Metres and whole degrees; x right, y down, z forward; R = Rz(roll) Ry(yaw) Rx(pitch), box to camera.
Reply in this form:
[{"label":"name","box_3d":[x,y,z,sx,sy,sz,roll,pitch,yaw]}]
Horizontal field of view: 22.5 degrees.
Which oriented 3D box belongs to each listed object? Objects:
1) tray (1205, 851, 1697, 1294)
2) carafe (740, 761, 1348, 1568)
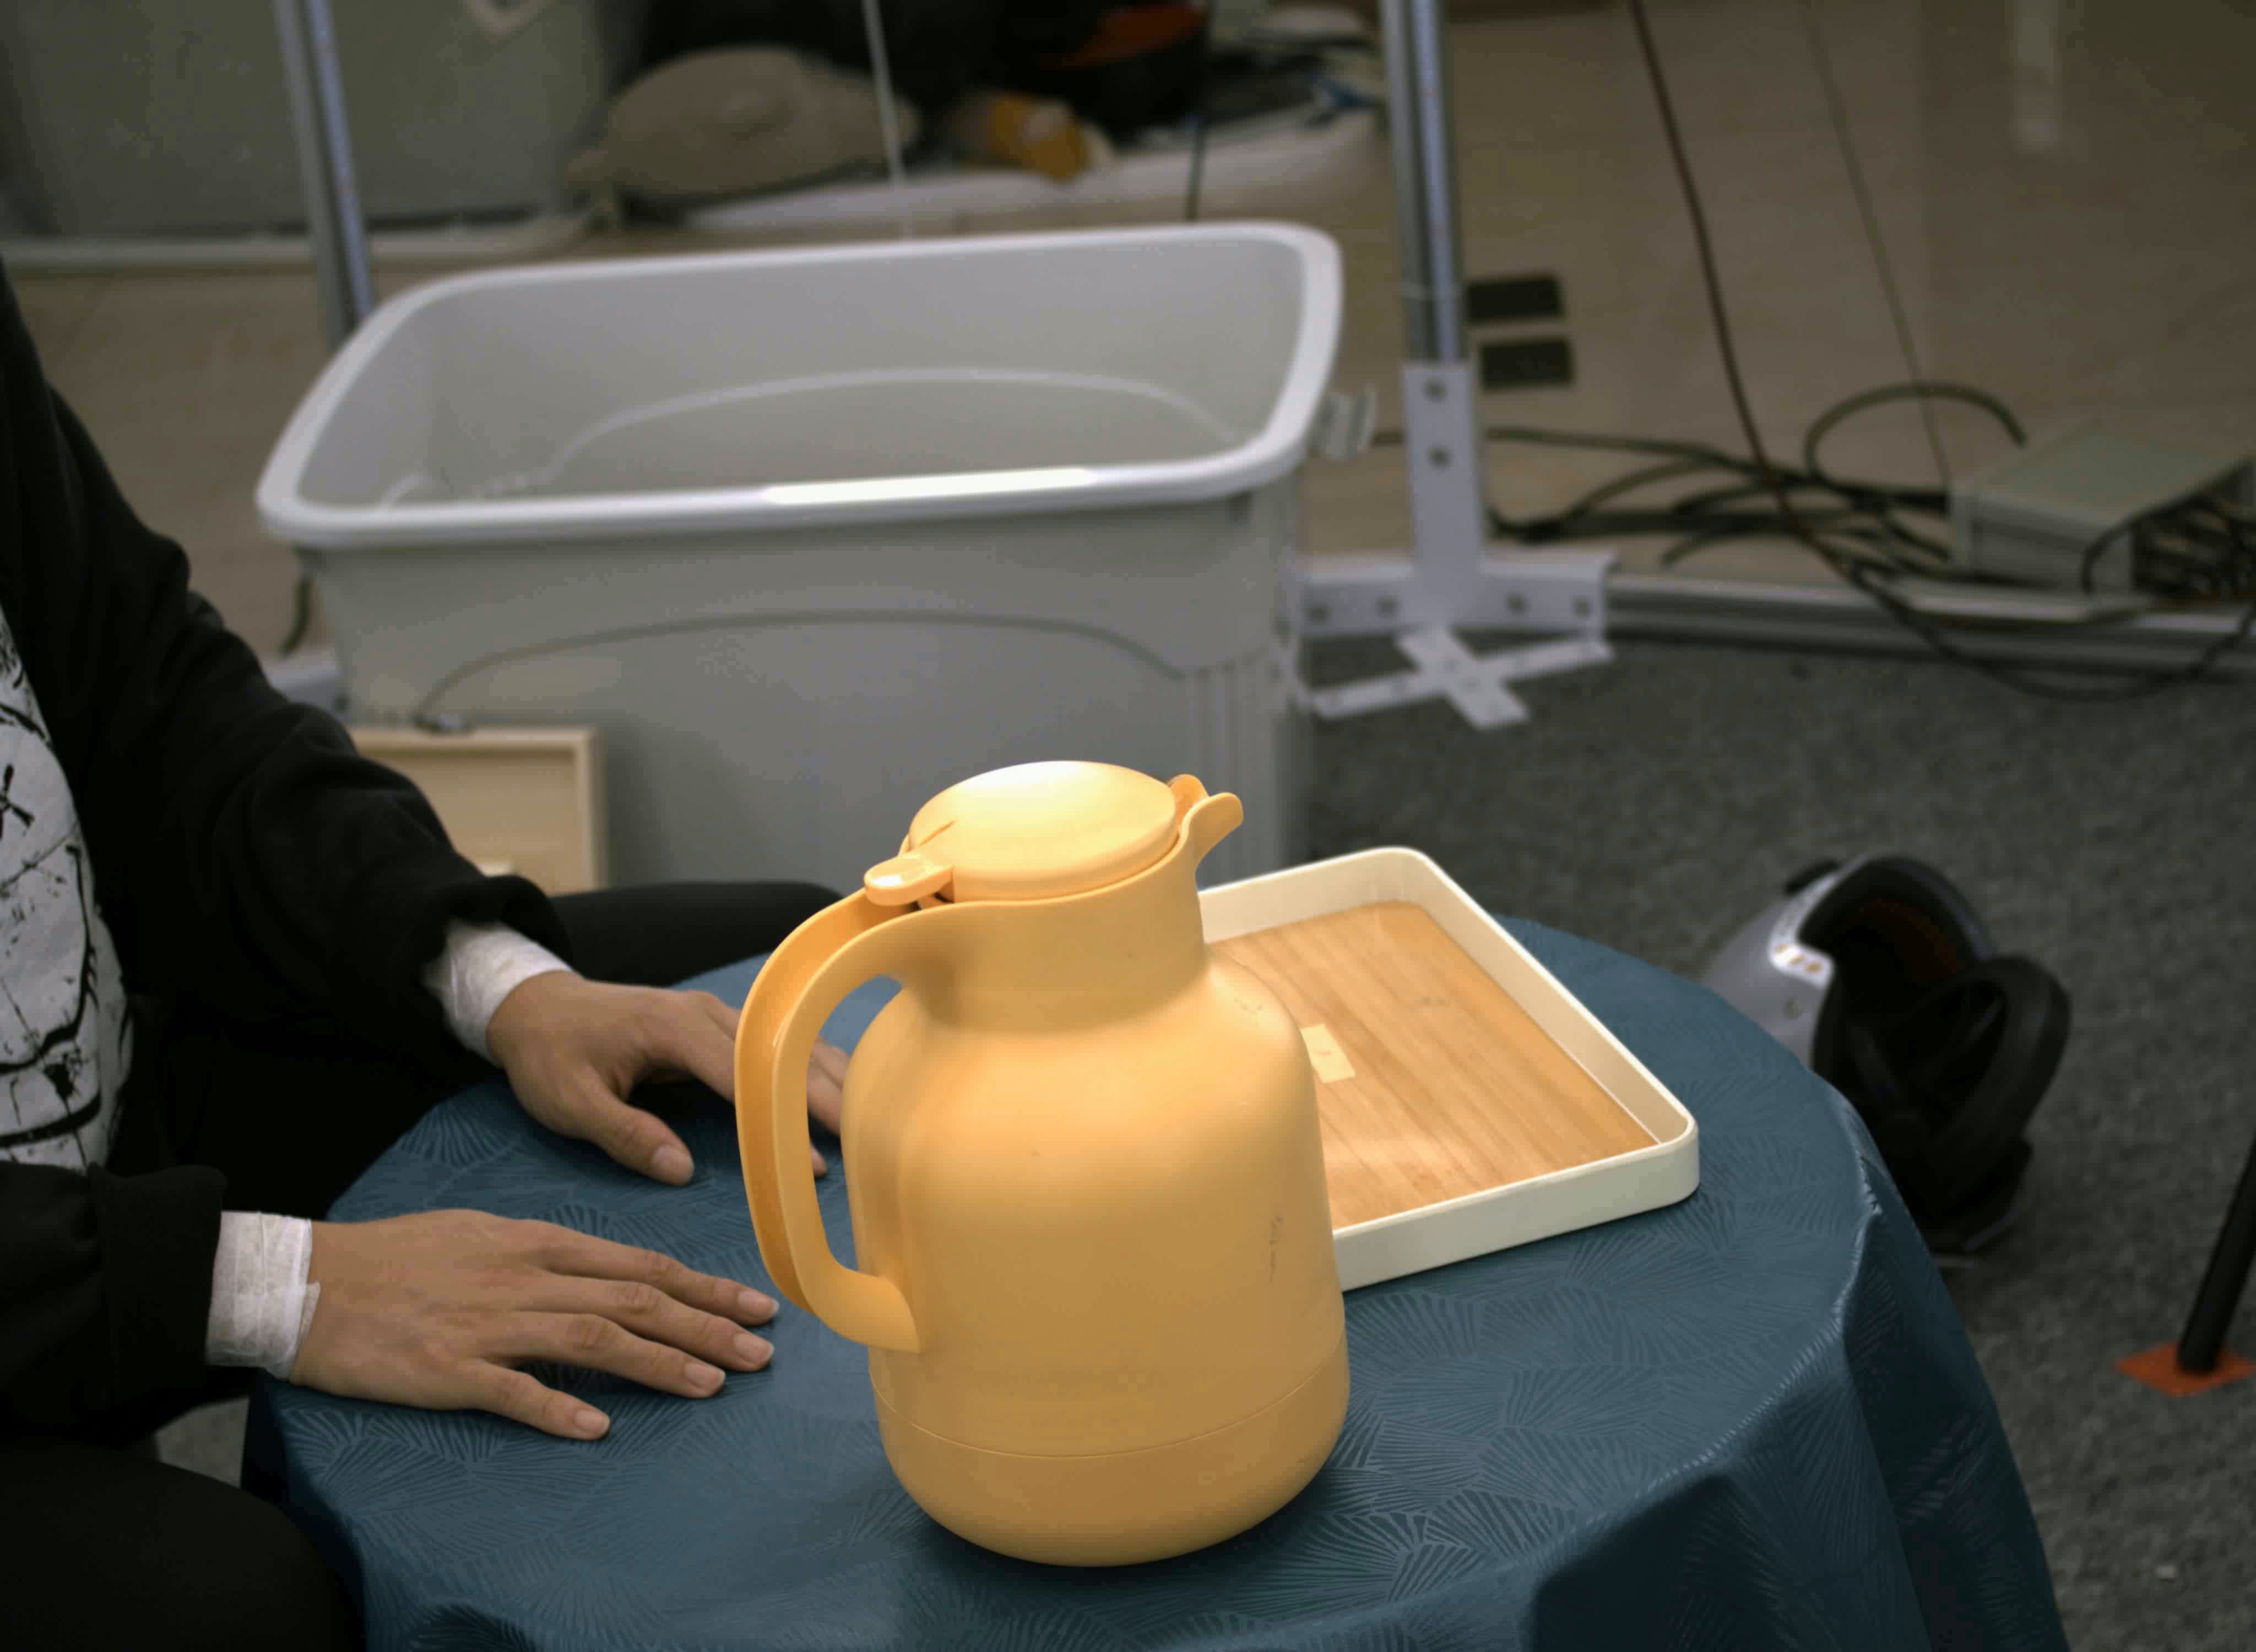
[{"label":"tray","box_3d":[0.079,0.093,2.197,0.191,0.028,0.296,-13,26,-15]},{"label":"carafe","box_3d":[-0.032,0.114,1.900,0.201,0.264,0.162,-19,26,-27]}]
